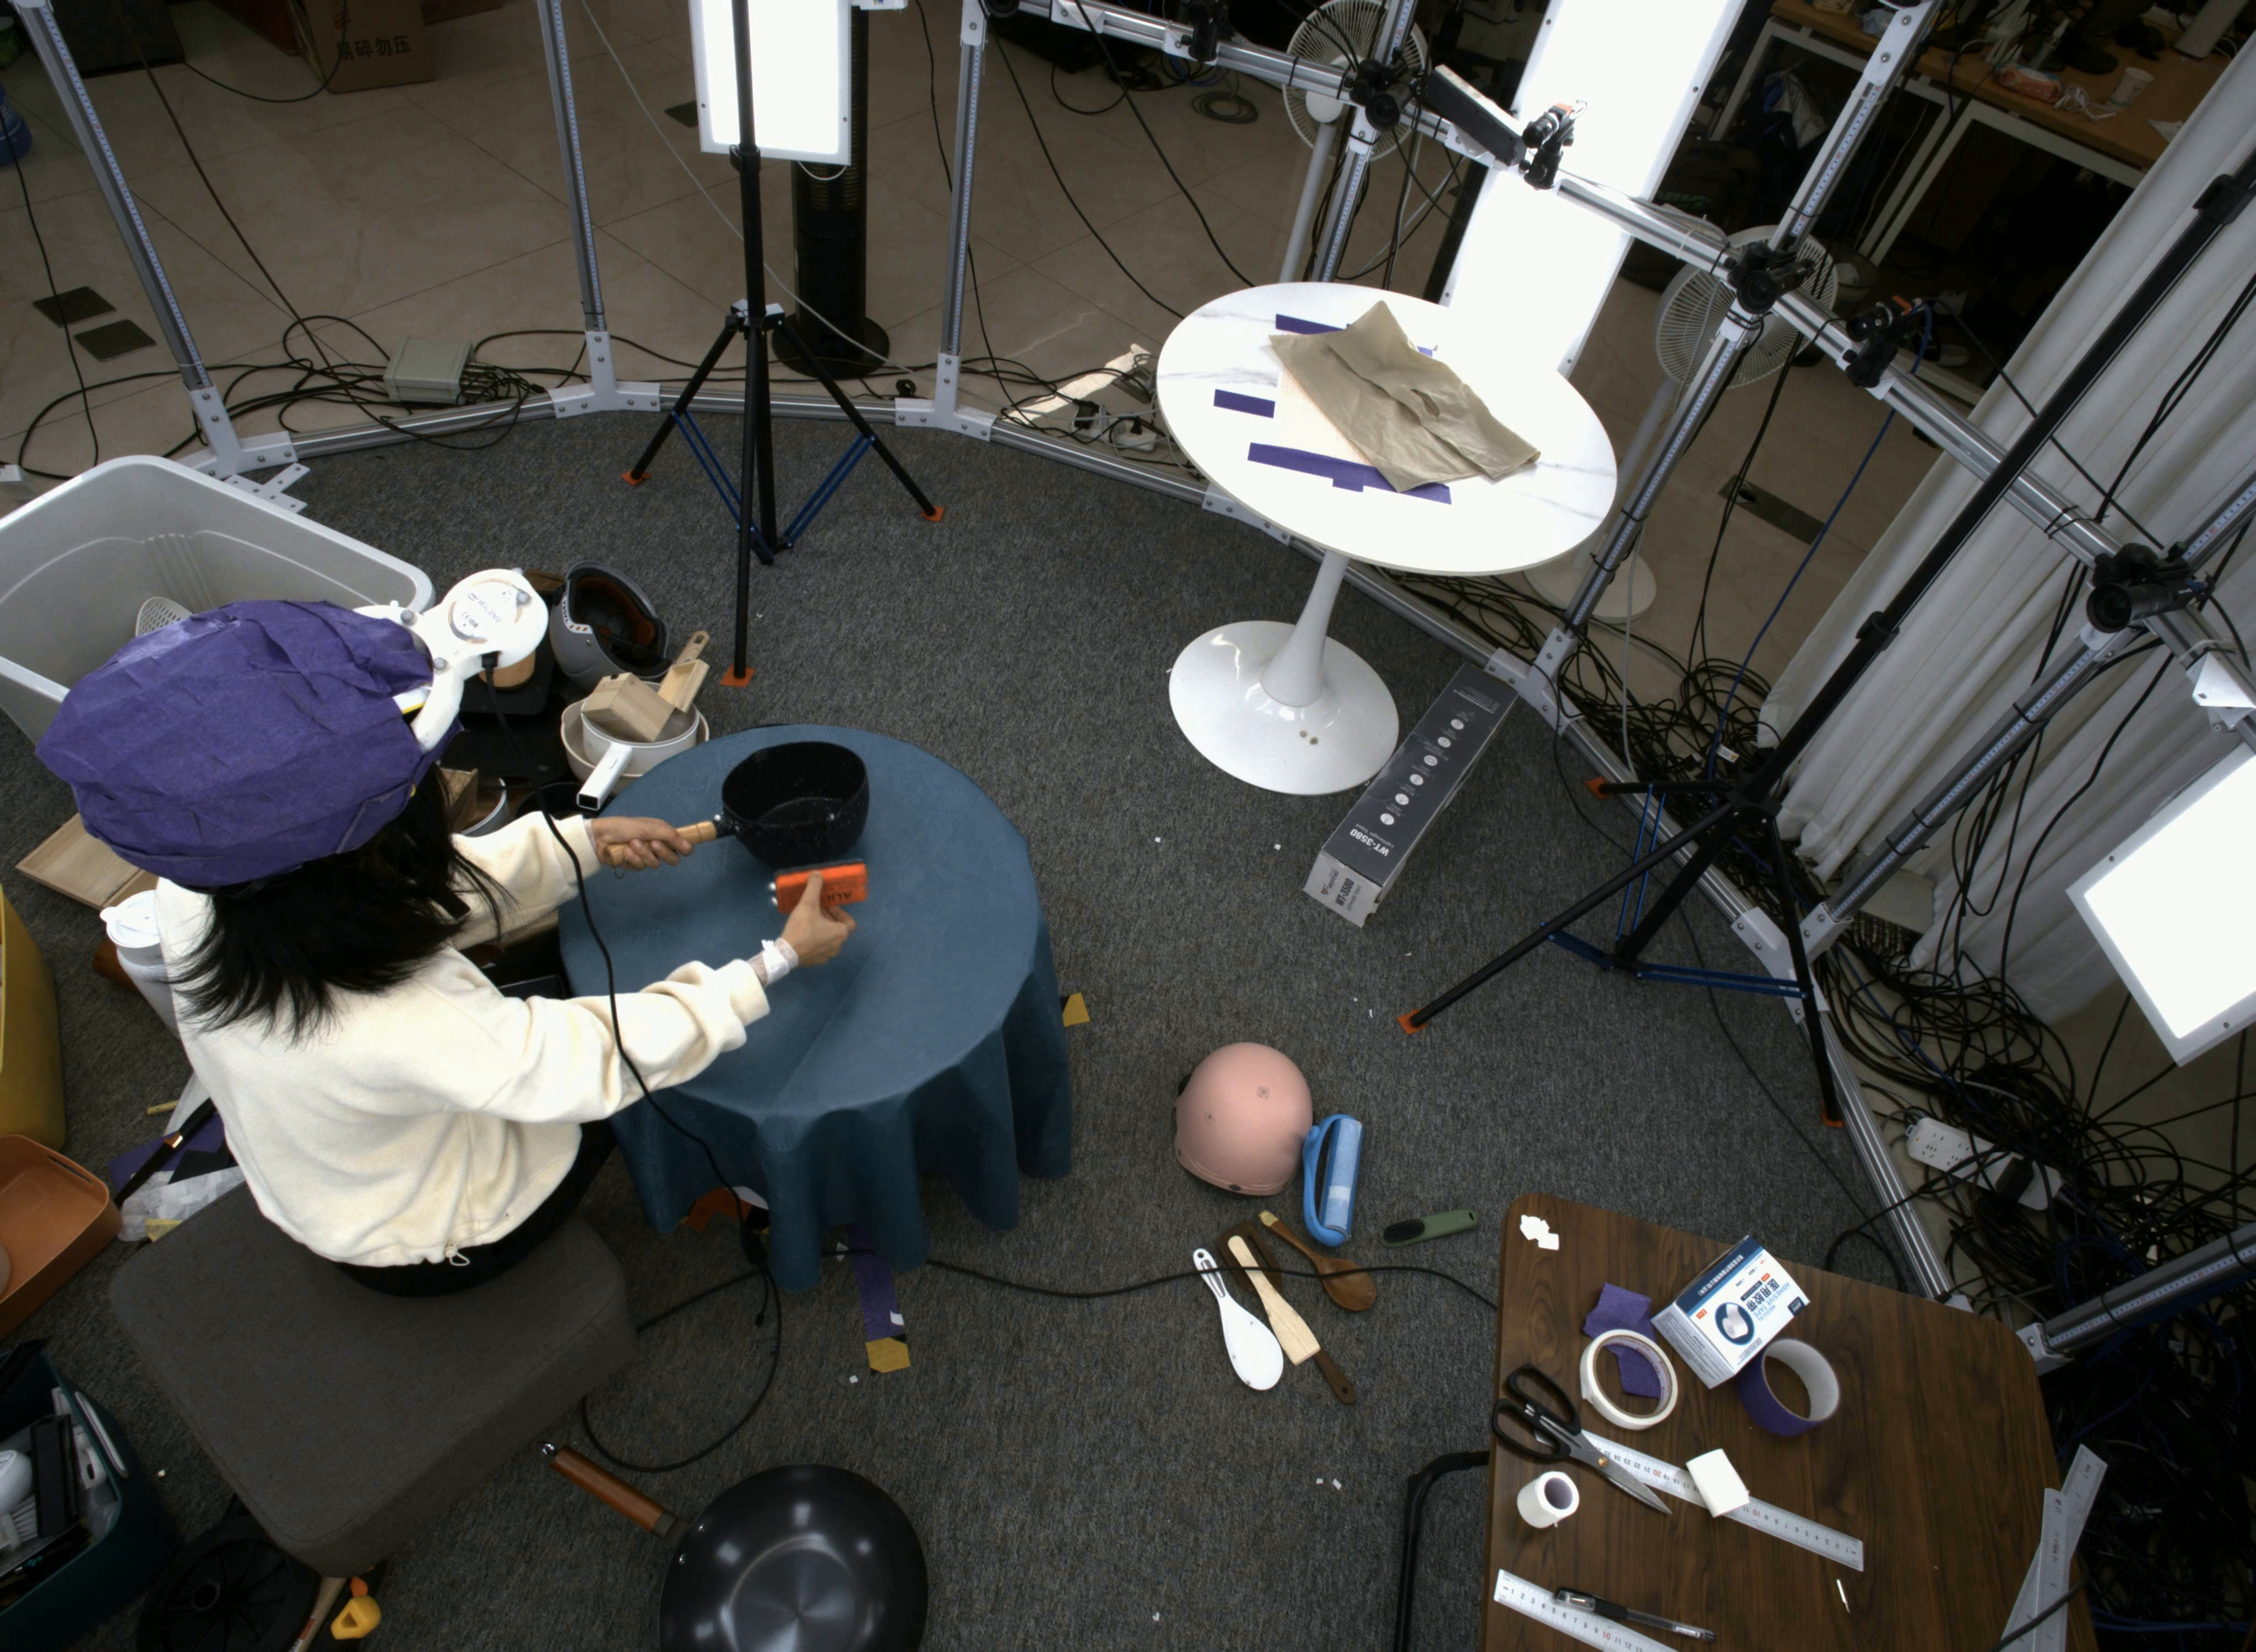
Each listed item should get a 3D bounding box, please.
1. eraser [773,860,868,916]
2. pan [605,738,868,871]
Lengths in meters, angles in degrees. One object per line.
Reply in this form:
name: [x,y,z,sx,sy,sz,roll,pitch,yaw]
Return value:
eraser: [-0.366,0.072,1.544,0.108,0.060,0.022,-10,51,-19]
pan: [-0.481,0.000,1.606,0.344,0.112,0.200,-29,48,-33]
